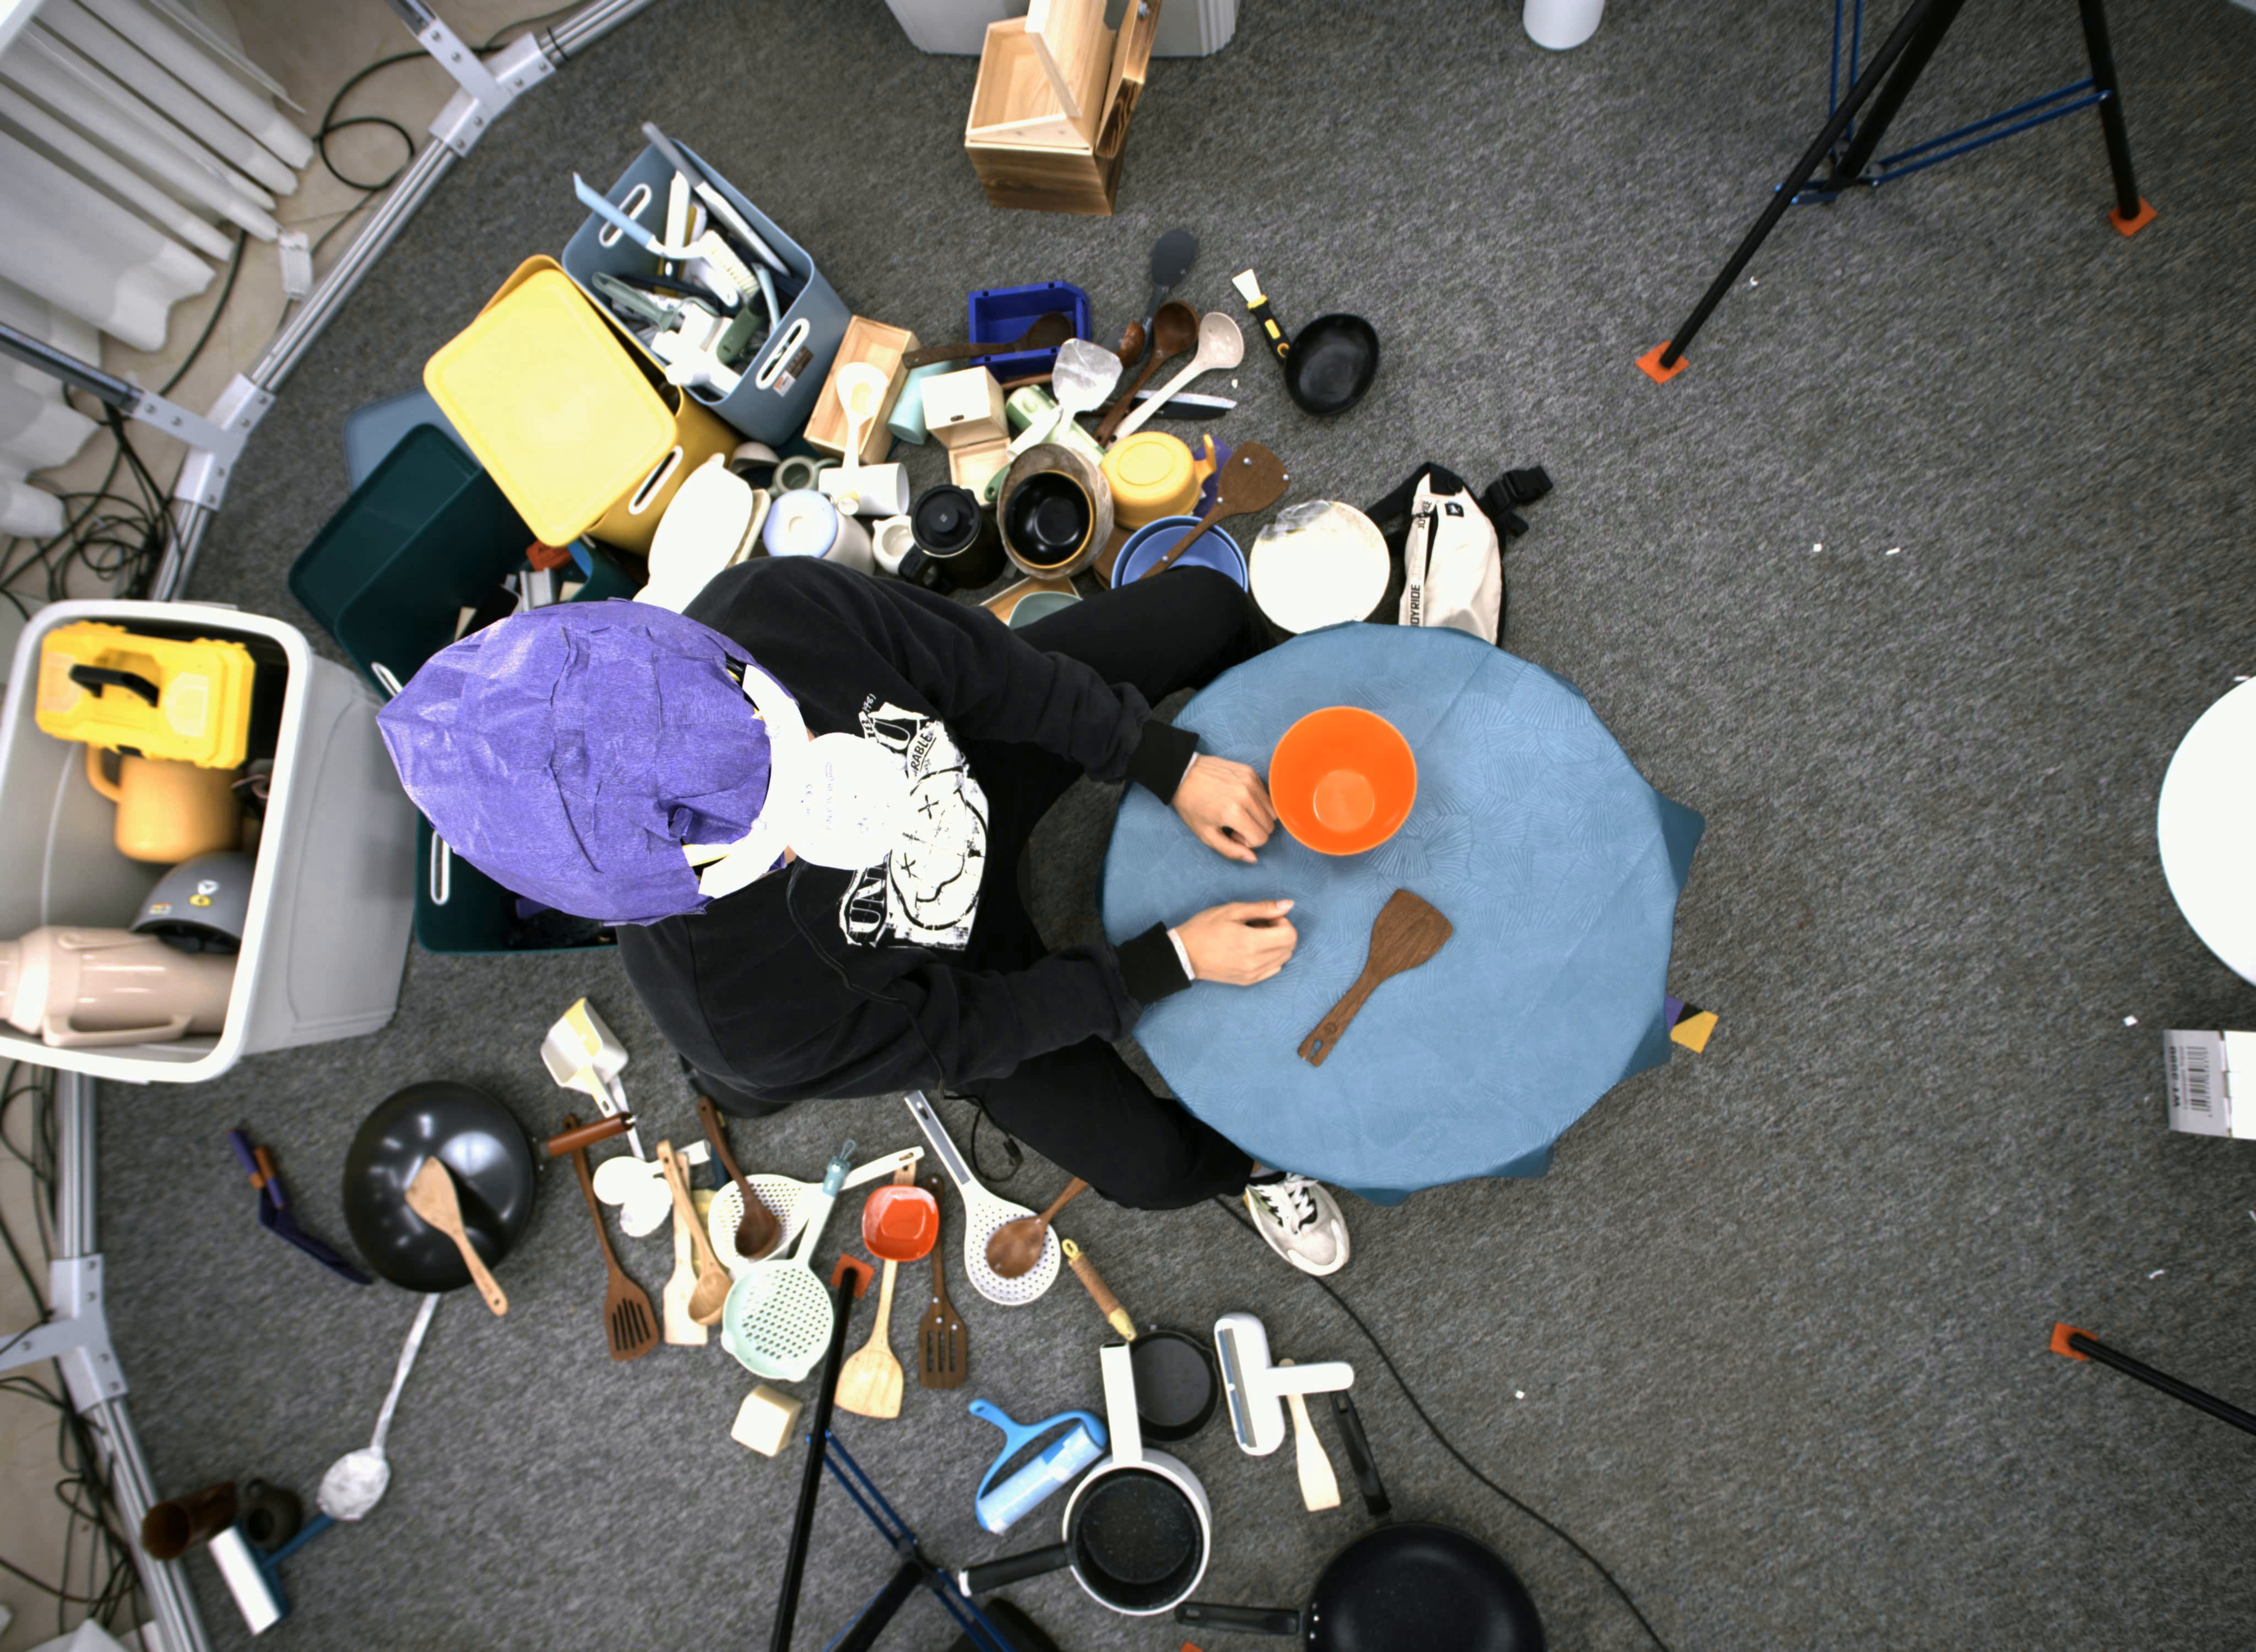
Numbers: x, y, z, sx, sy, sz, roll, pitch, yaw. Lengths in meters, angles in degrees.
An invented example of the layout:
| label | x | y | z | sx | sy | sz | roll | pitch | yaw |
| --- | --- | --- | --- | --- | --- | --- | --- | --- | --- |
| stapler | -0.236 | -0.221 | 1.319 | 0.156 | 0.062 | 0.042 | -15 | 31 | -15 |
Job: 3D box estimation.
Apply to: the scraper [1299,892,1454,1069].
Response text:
| label | x | y | z | sx | sy | sz | roll | pitch | yaw |
| --- | --- | --- | --- | --- | --- | --- | --- | --- | --- |
| scraper | 0.254 | 0.167 | 1.457 | 0.075 | 0.011 | 0.212 | 39 | 94 | 11 |

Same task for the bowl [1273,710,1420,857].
| label | x | y | z | sx | sy | sz | roll | pitch | yaw |
| --- | --- | --- | --- | --- | --- | --- | --- | --- | --- |
| bowl | 0.226 | -0.039 | 1.429 | 0.148 | 0.105 | 0.147 | -1 | 85 | 9 |
